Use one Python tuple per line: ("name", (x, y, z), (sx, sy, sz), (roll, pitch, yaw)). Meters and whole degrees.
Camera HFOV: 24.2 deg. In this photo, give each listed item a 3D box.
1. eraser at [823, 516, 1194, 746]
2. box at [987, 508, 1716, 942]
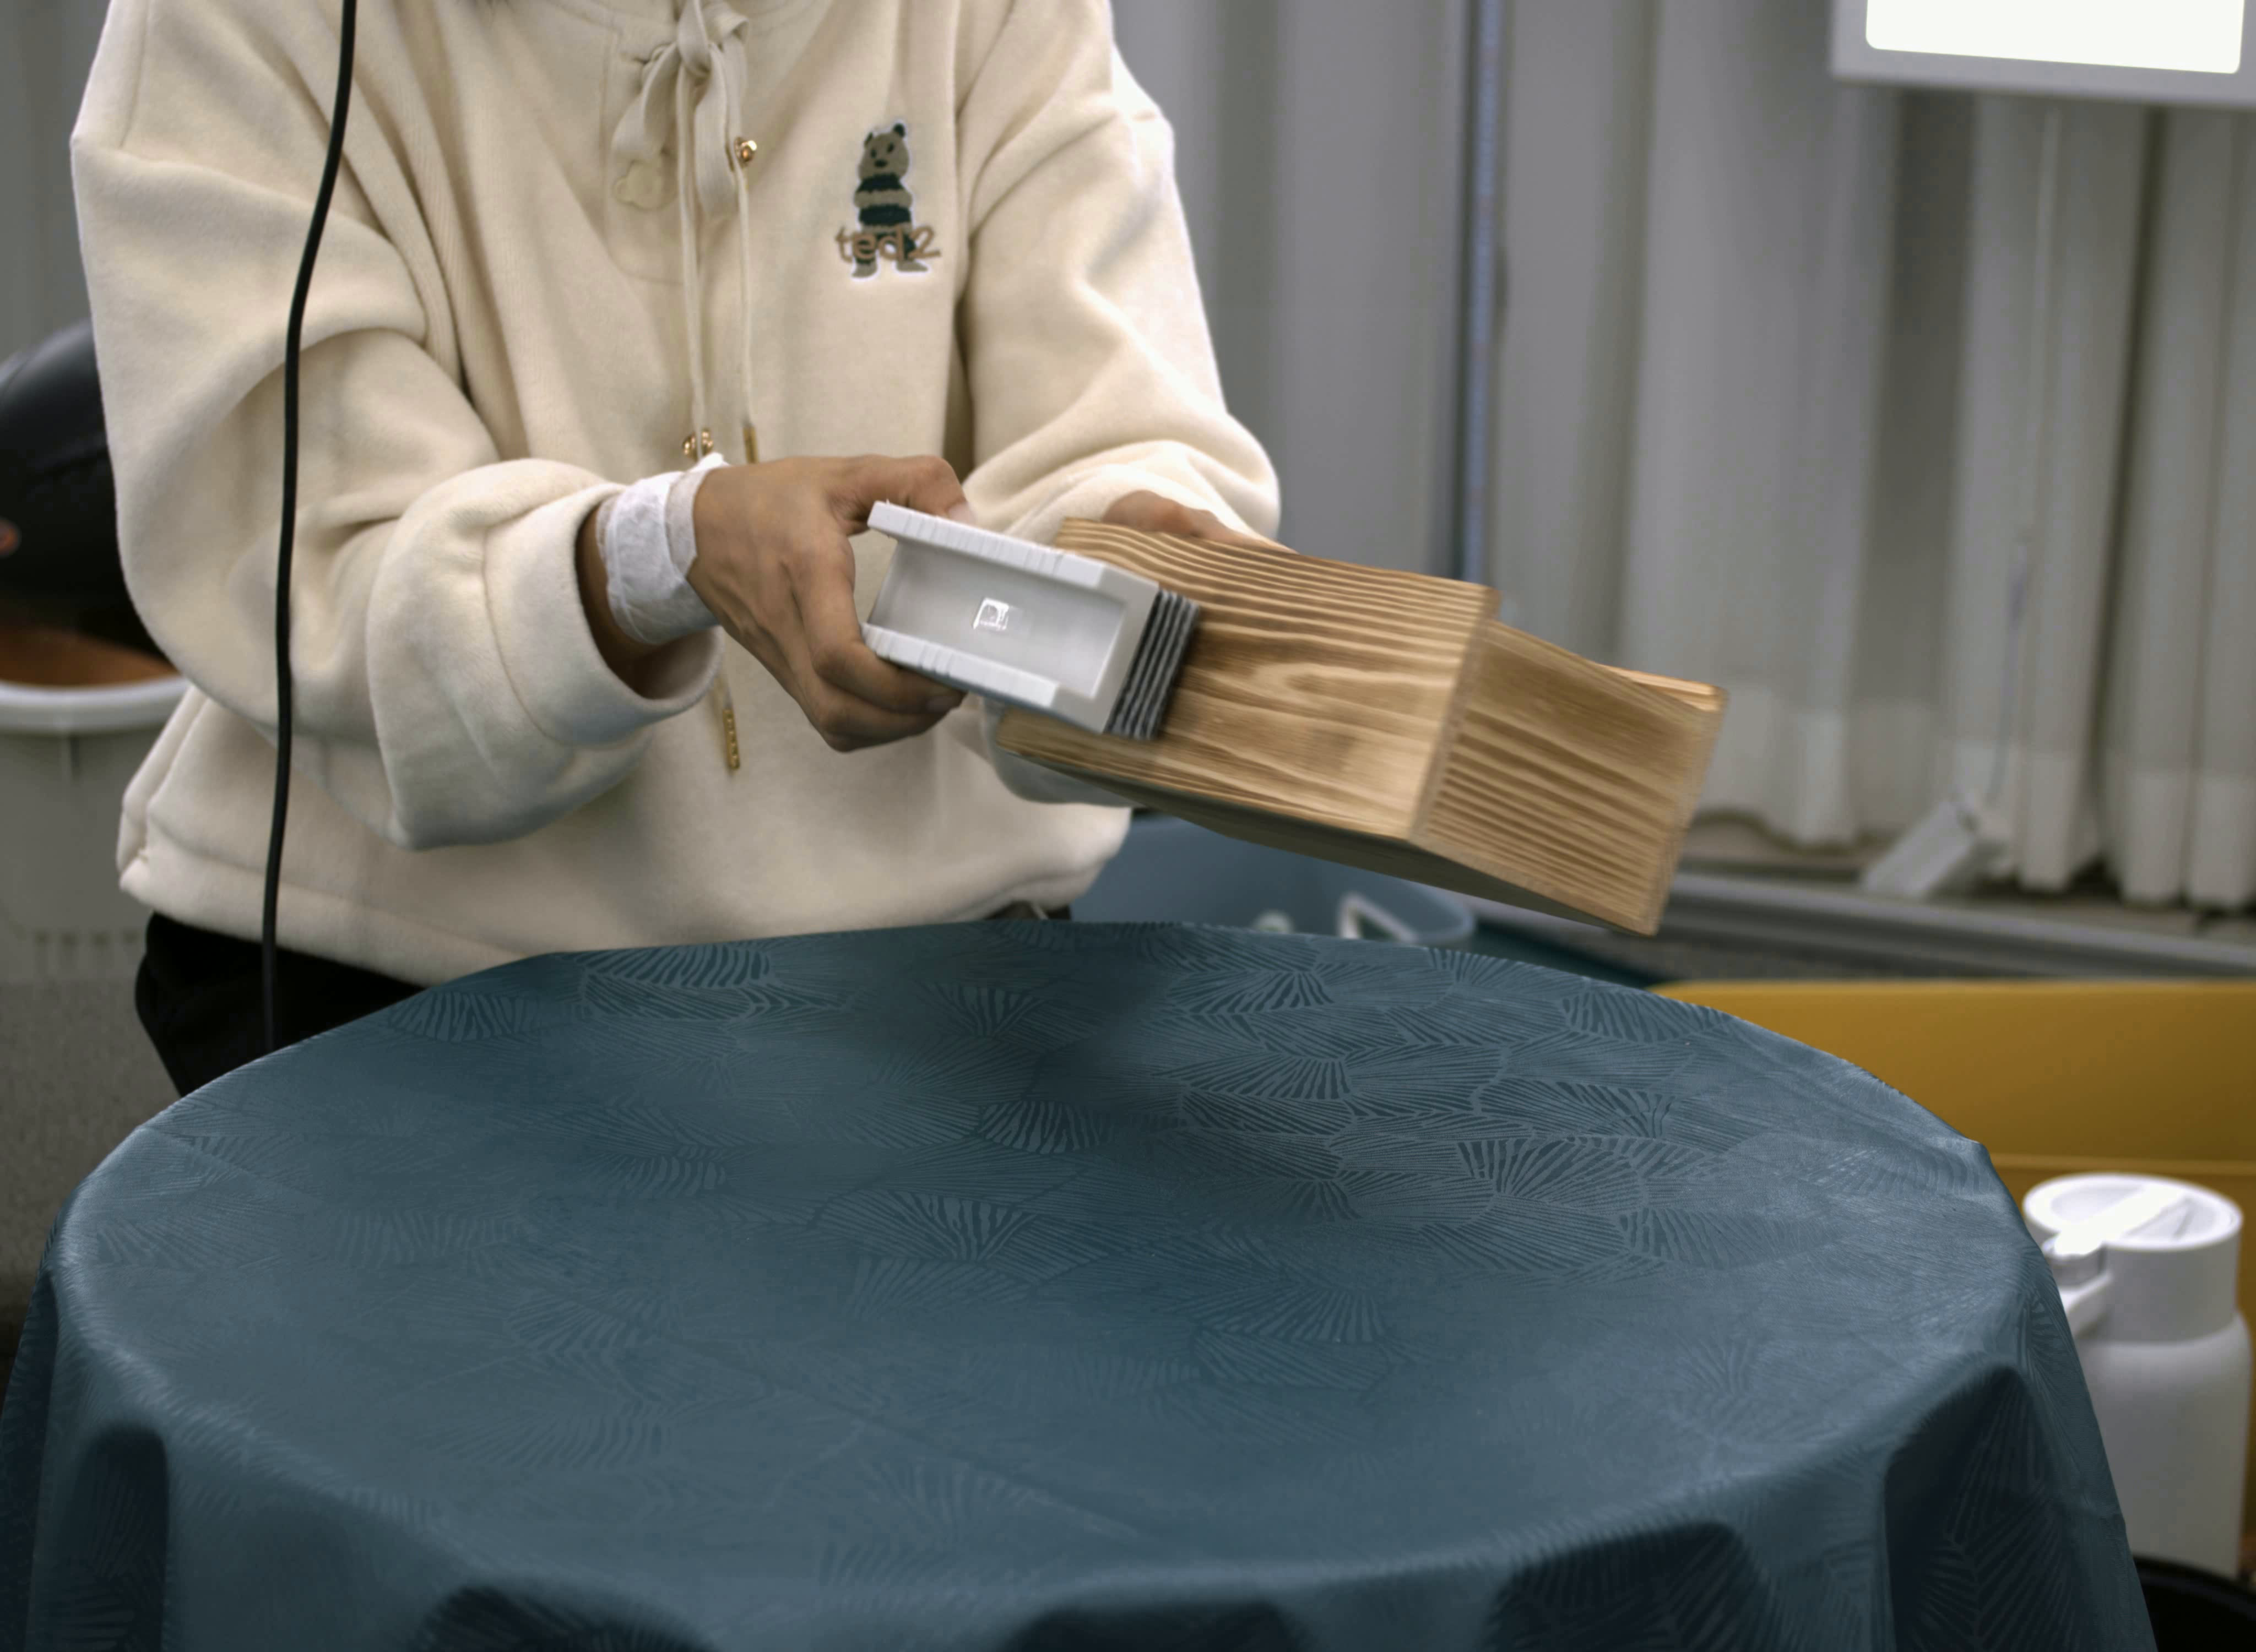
("eraser", (-0.038, -0.062, 1.648), (0.047, 0.050, 0.132), (20, -3, -37))
("box", (0.066, -0.034, 1.636), (0.109, 0.080, 0.209), (21, -4, -38))
